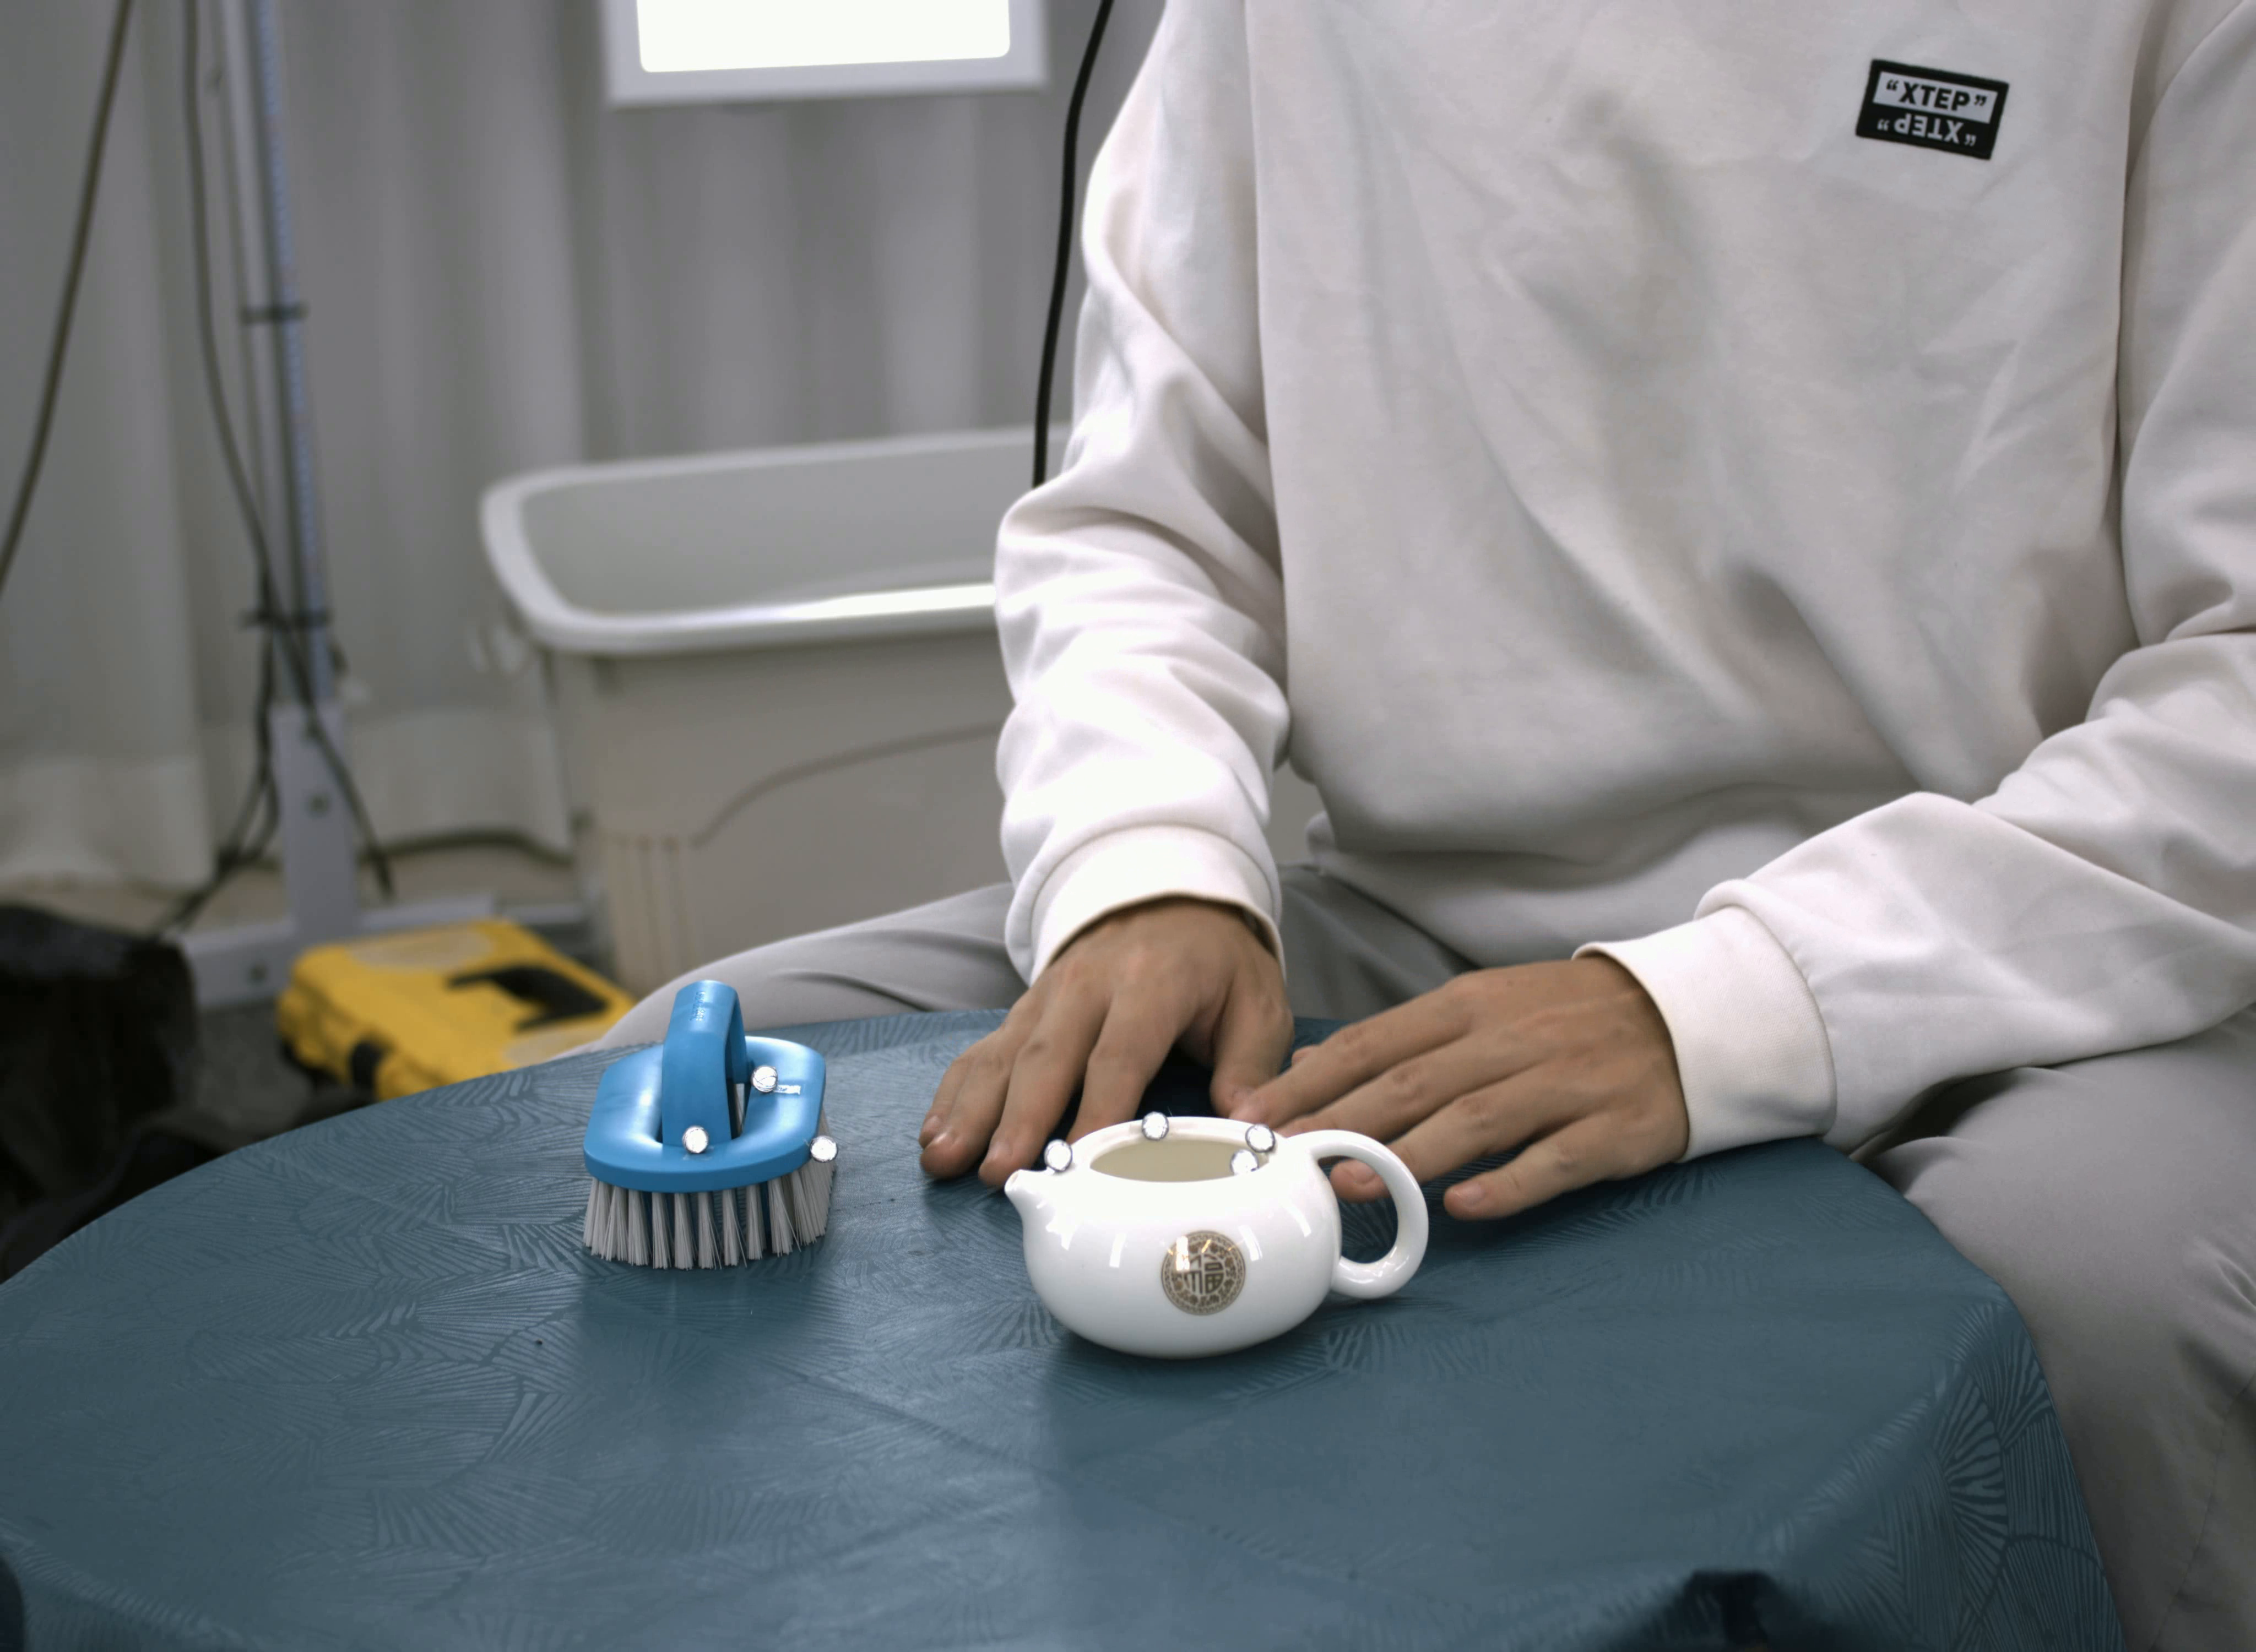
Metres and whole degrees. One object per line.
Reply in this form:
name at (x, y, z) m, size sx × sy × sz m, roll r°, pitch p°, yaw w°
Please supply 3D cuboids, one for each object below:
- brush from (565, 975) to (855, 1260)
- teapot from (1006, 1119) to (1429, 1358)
brush at (-0.133, 0.086, 1.724) m, size 0.084 × 0.063 × 0.142 m, roll -7°, pitch 14°, yaw 3°
teapot at (0.027, 0.119, 1.593) m, size 0.126 × 0.056 × 0.094 m, roll -7°, pitch 11°, yaw -19°
